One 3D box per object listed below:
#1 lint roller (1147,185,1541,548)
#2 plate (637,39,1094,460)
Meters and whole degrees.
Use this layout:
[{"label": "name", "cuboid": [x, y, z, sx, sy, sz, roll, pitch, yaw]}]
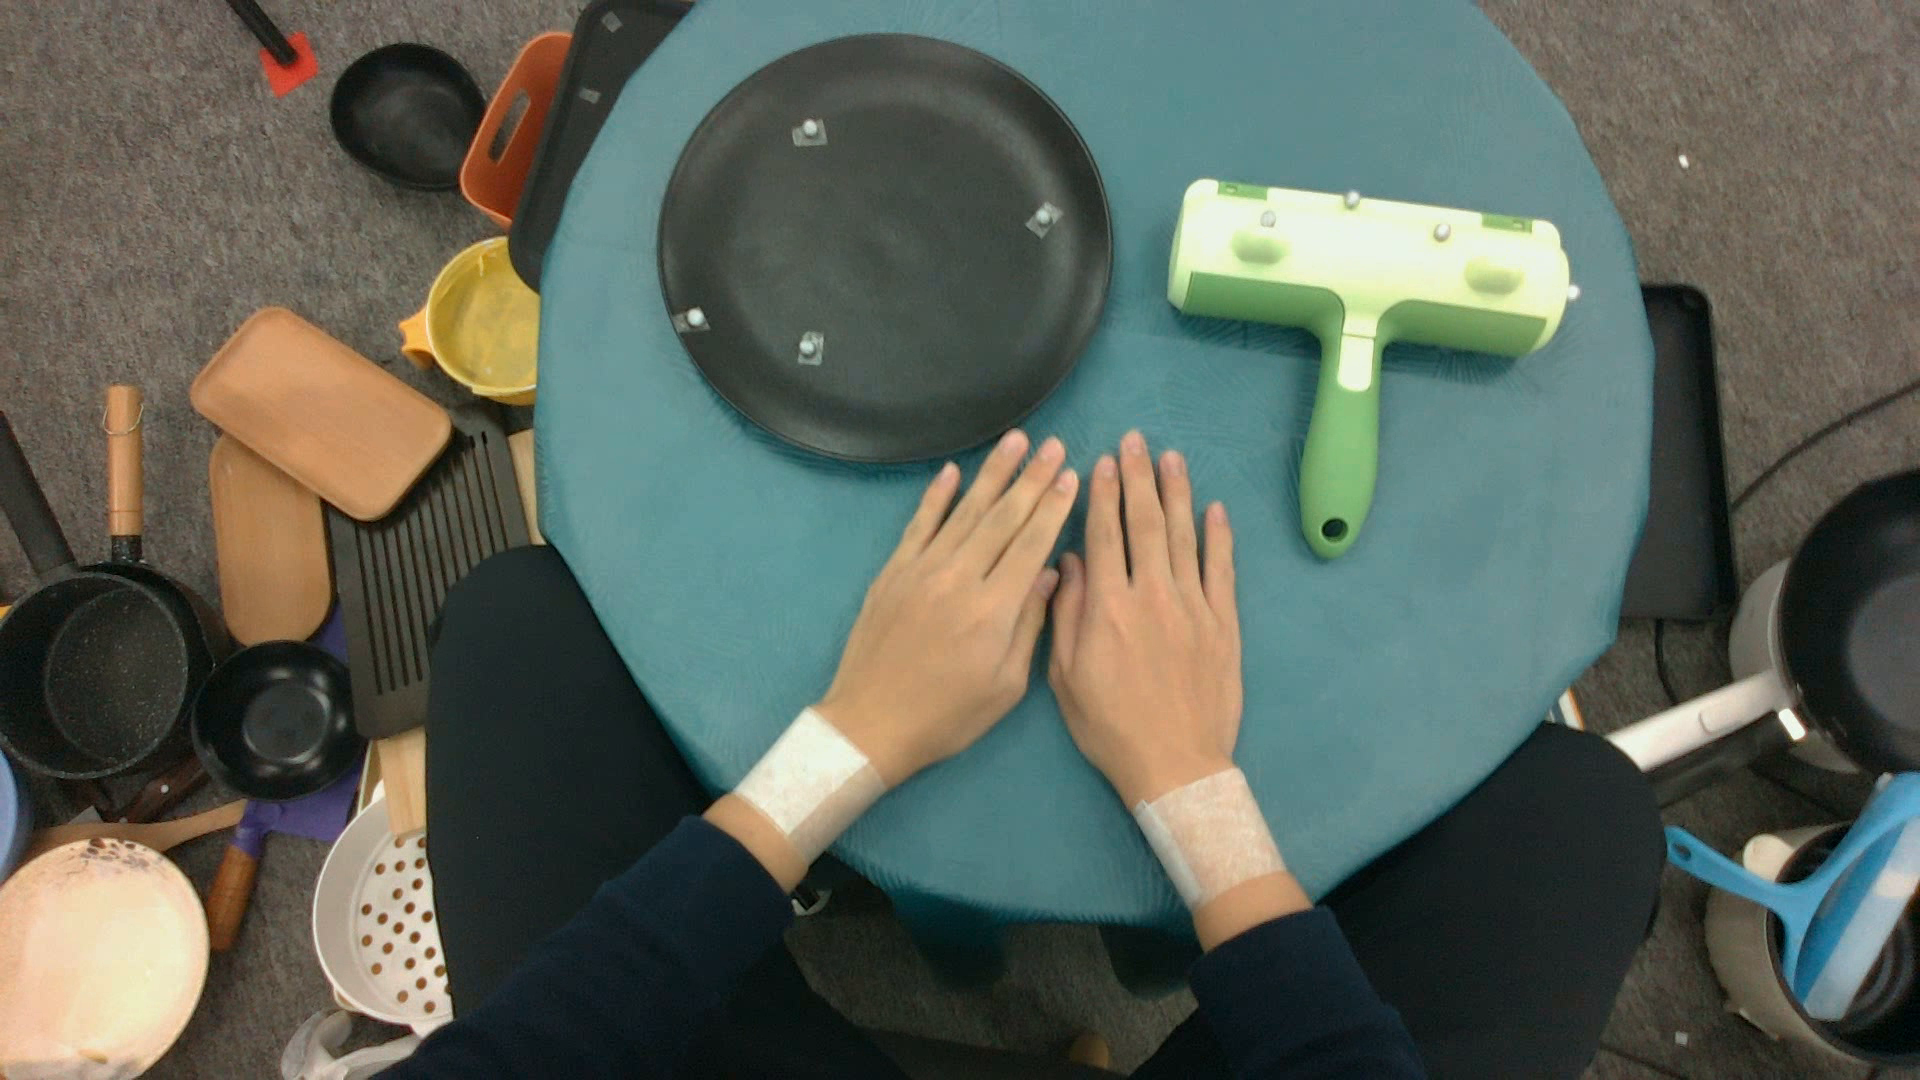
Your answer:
[{"label": "lint roller", "cuboid": [0.193, -0.092, 0.698, 0.198, 0.082, 0.184, 6, 70, 2]}, {"label": "plate", "cuboid": [-0.050, -0.157, 0.743, 0.244, 0.023, 0.245, 0, 76, -1]}]
